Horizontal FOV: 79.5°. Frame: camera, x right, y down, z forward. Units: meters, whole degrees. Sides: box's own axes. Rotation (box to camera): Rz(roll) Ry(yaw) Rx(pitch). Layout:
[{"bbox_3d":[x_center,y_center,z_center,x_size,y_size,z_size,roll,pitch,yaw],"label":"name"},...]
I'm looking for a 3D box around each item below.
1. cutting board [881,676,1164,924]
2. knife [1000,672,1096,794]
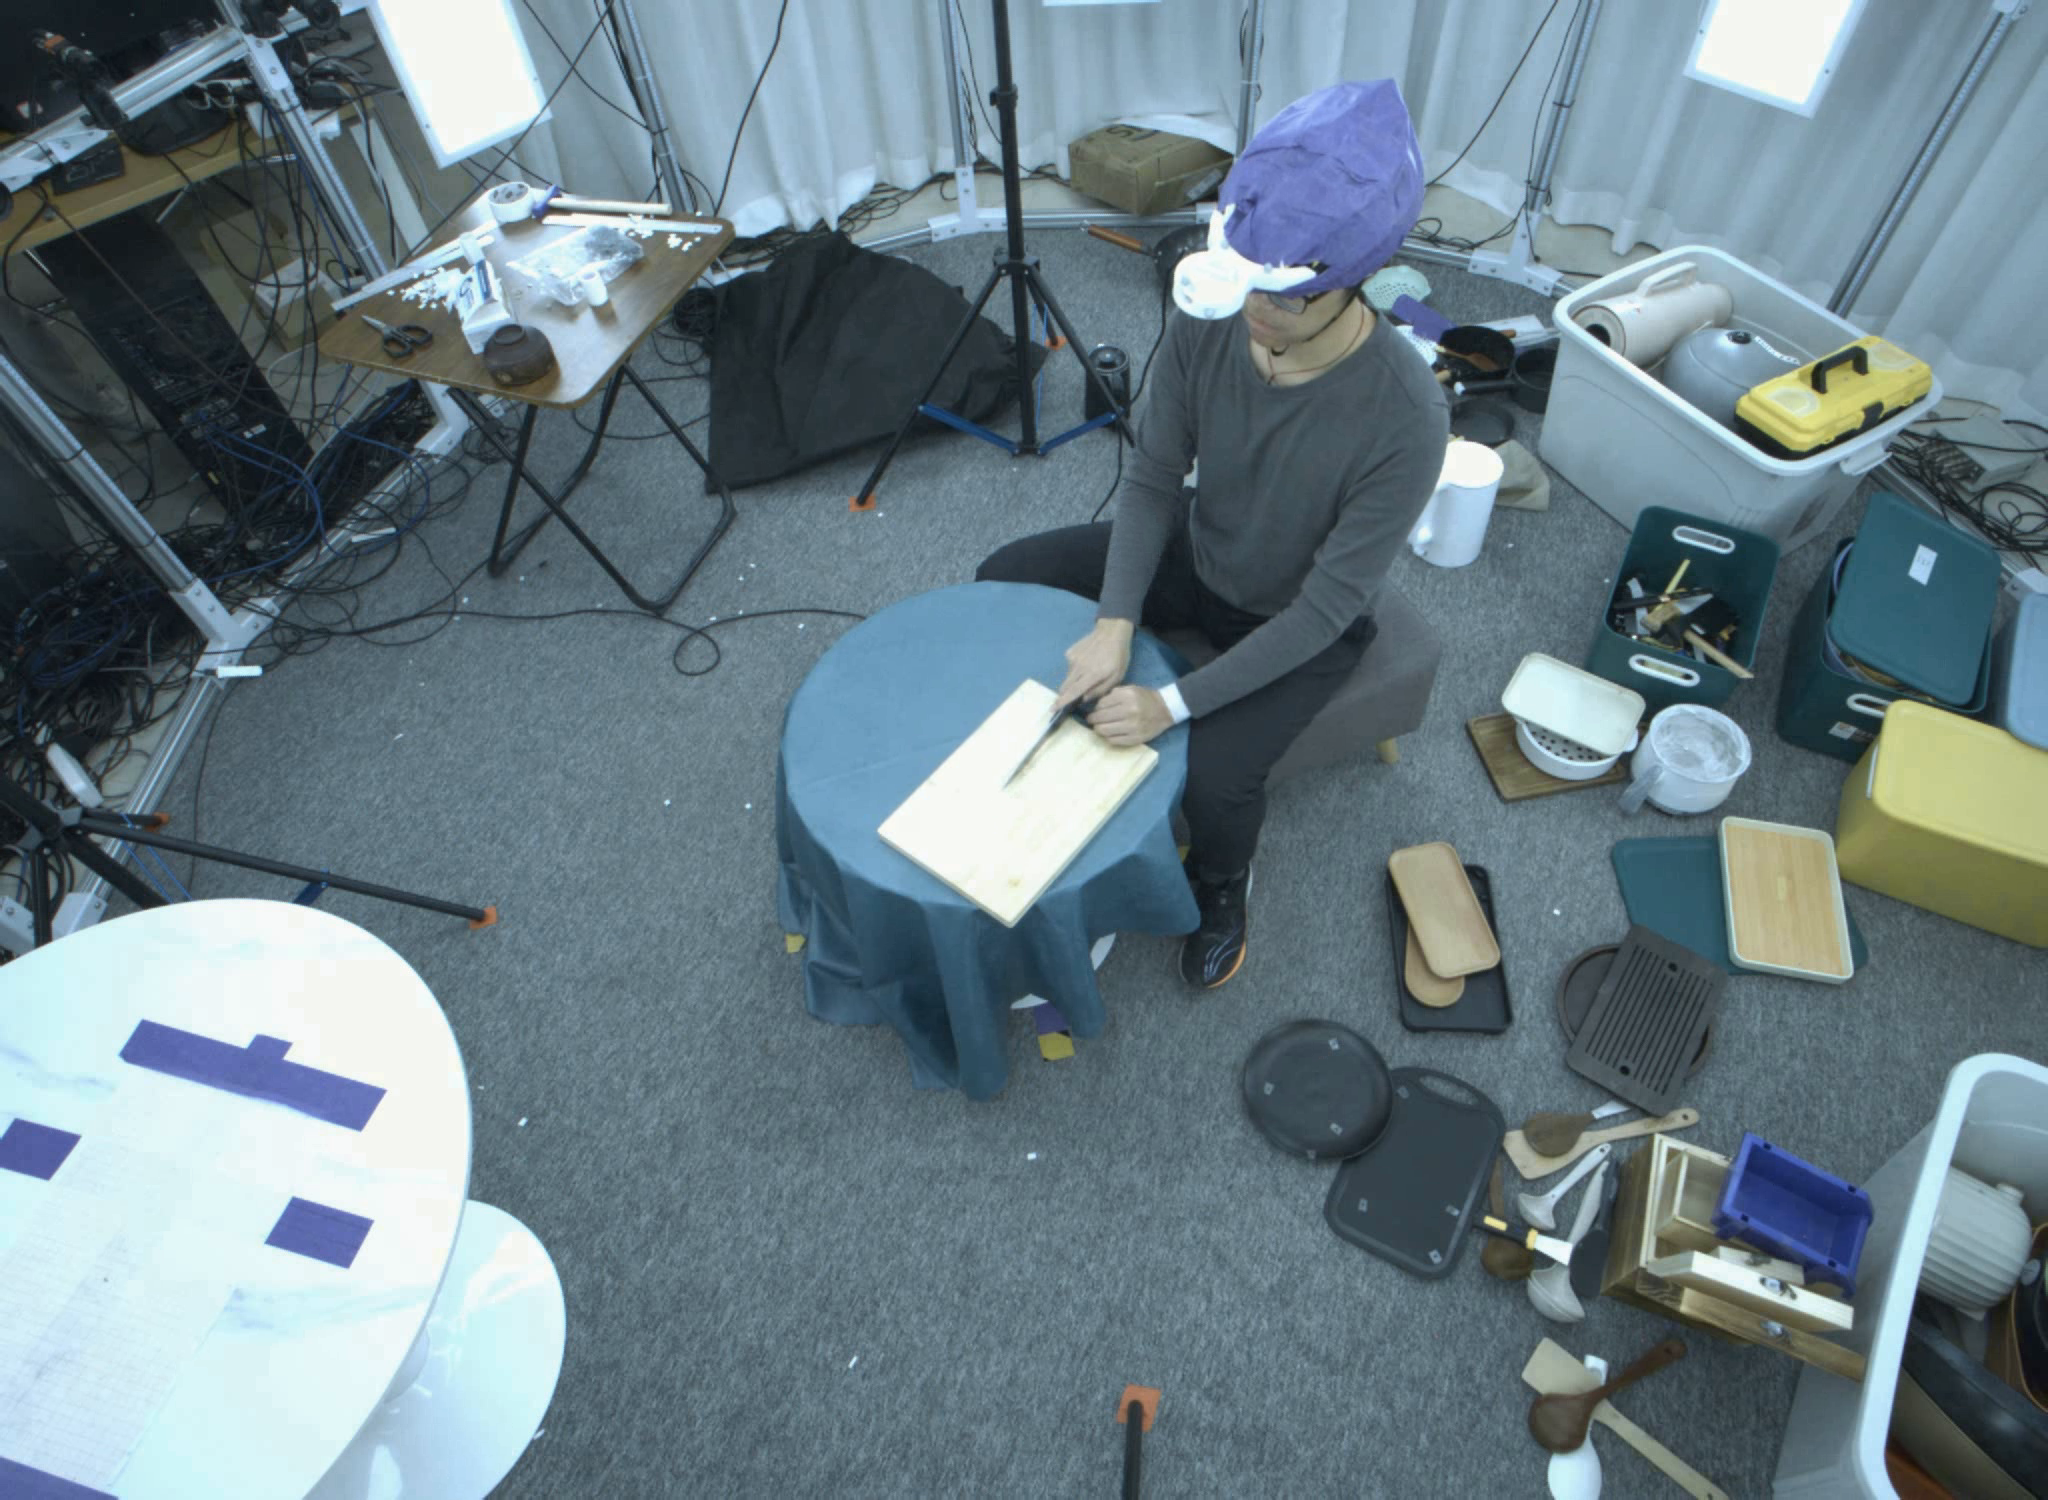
[{"bbox_3d":[-0.001,0.060,1.743,0.247,0.024,0.350,31,61,21],"label":"cutting board"},{"bbox_3d":[0.033,-0.027,1.771,0.016,0.025,0.239,27,65,25],"label":"knife"}]
